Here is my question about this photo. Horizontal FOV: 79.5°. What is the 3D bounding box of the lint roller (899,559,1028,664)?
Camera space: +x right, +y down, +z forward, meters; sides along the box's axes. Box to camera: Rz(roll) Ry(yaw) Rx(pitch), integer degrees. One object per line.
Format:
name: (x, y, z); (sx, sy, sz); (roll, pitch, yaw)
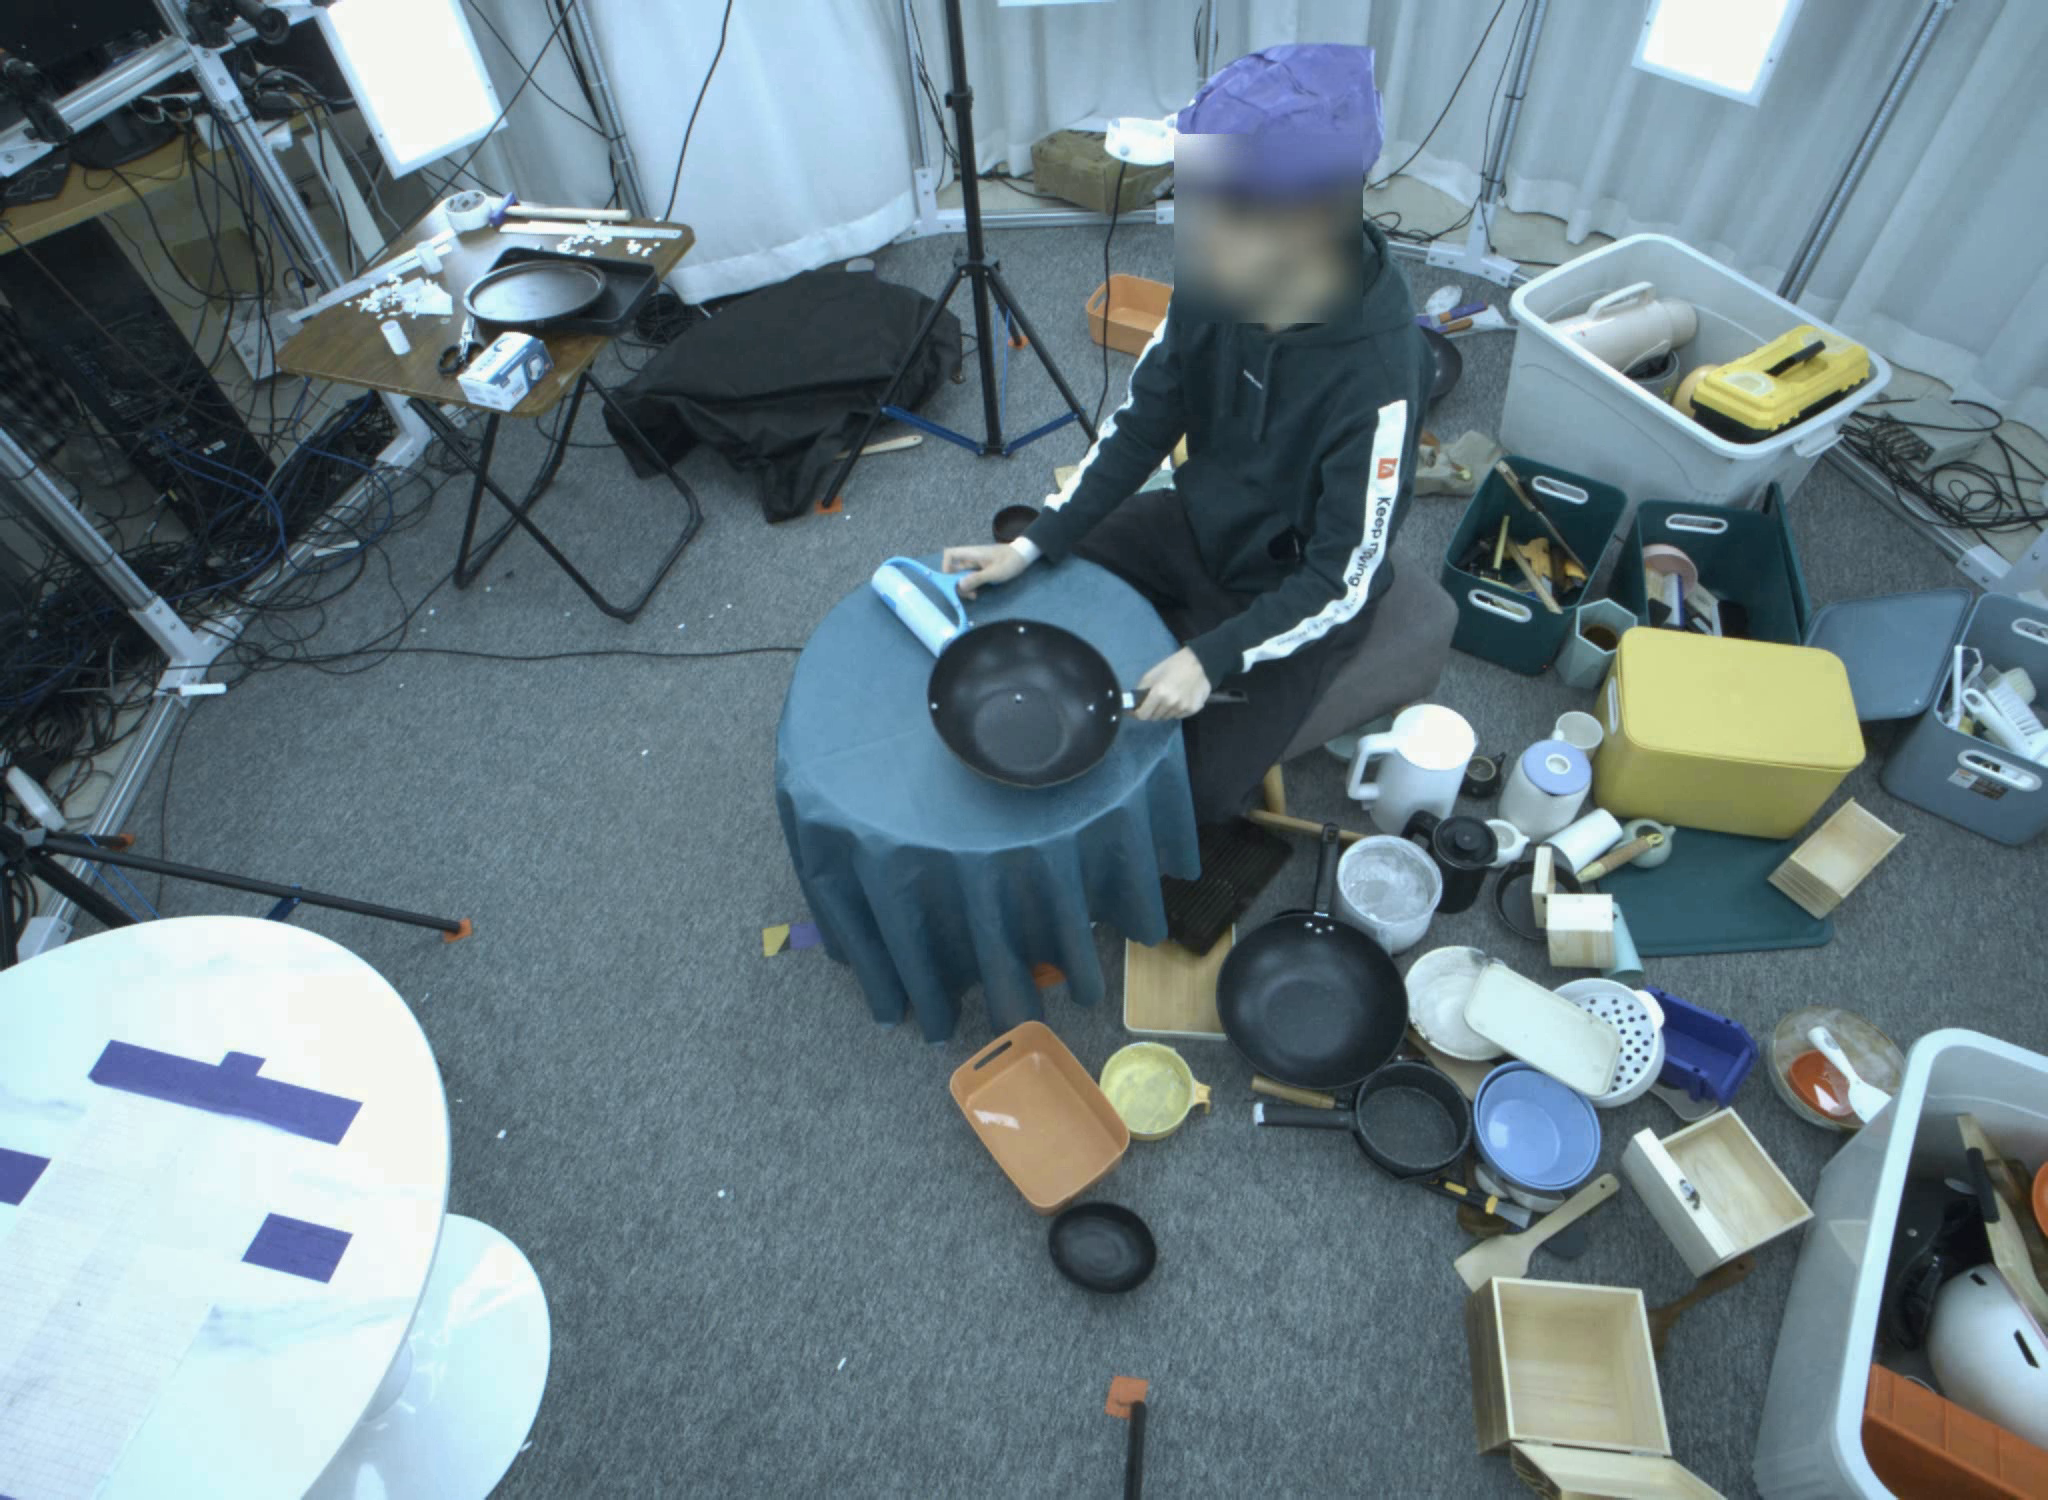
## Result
lint roller: (-0.074, -0.243, 1.924); (0.181, 0.069, 0.224); (-35, 58, -20)

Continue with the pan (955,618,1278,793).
pan: (0.129, -0.048, 1.756); (0.467, 0.087, 0.285); (1, 60, -11)
